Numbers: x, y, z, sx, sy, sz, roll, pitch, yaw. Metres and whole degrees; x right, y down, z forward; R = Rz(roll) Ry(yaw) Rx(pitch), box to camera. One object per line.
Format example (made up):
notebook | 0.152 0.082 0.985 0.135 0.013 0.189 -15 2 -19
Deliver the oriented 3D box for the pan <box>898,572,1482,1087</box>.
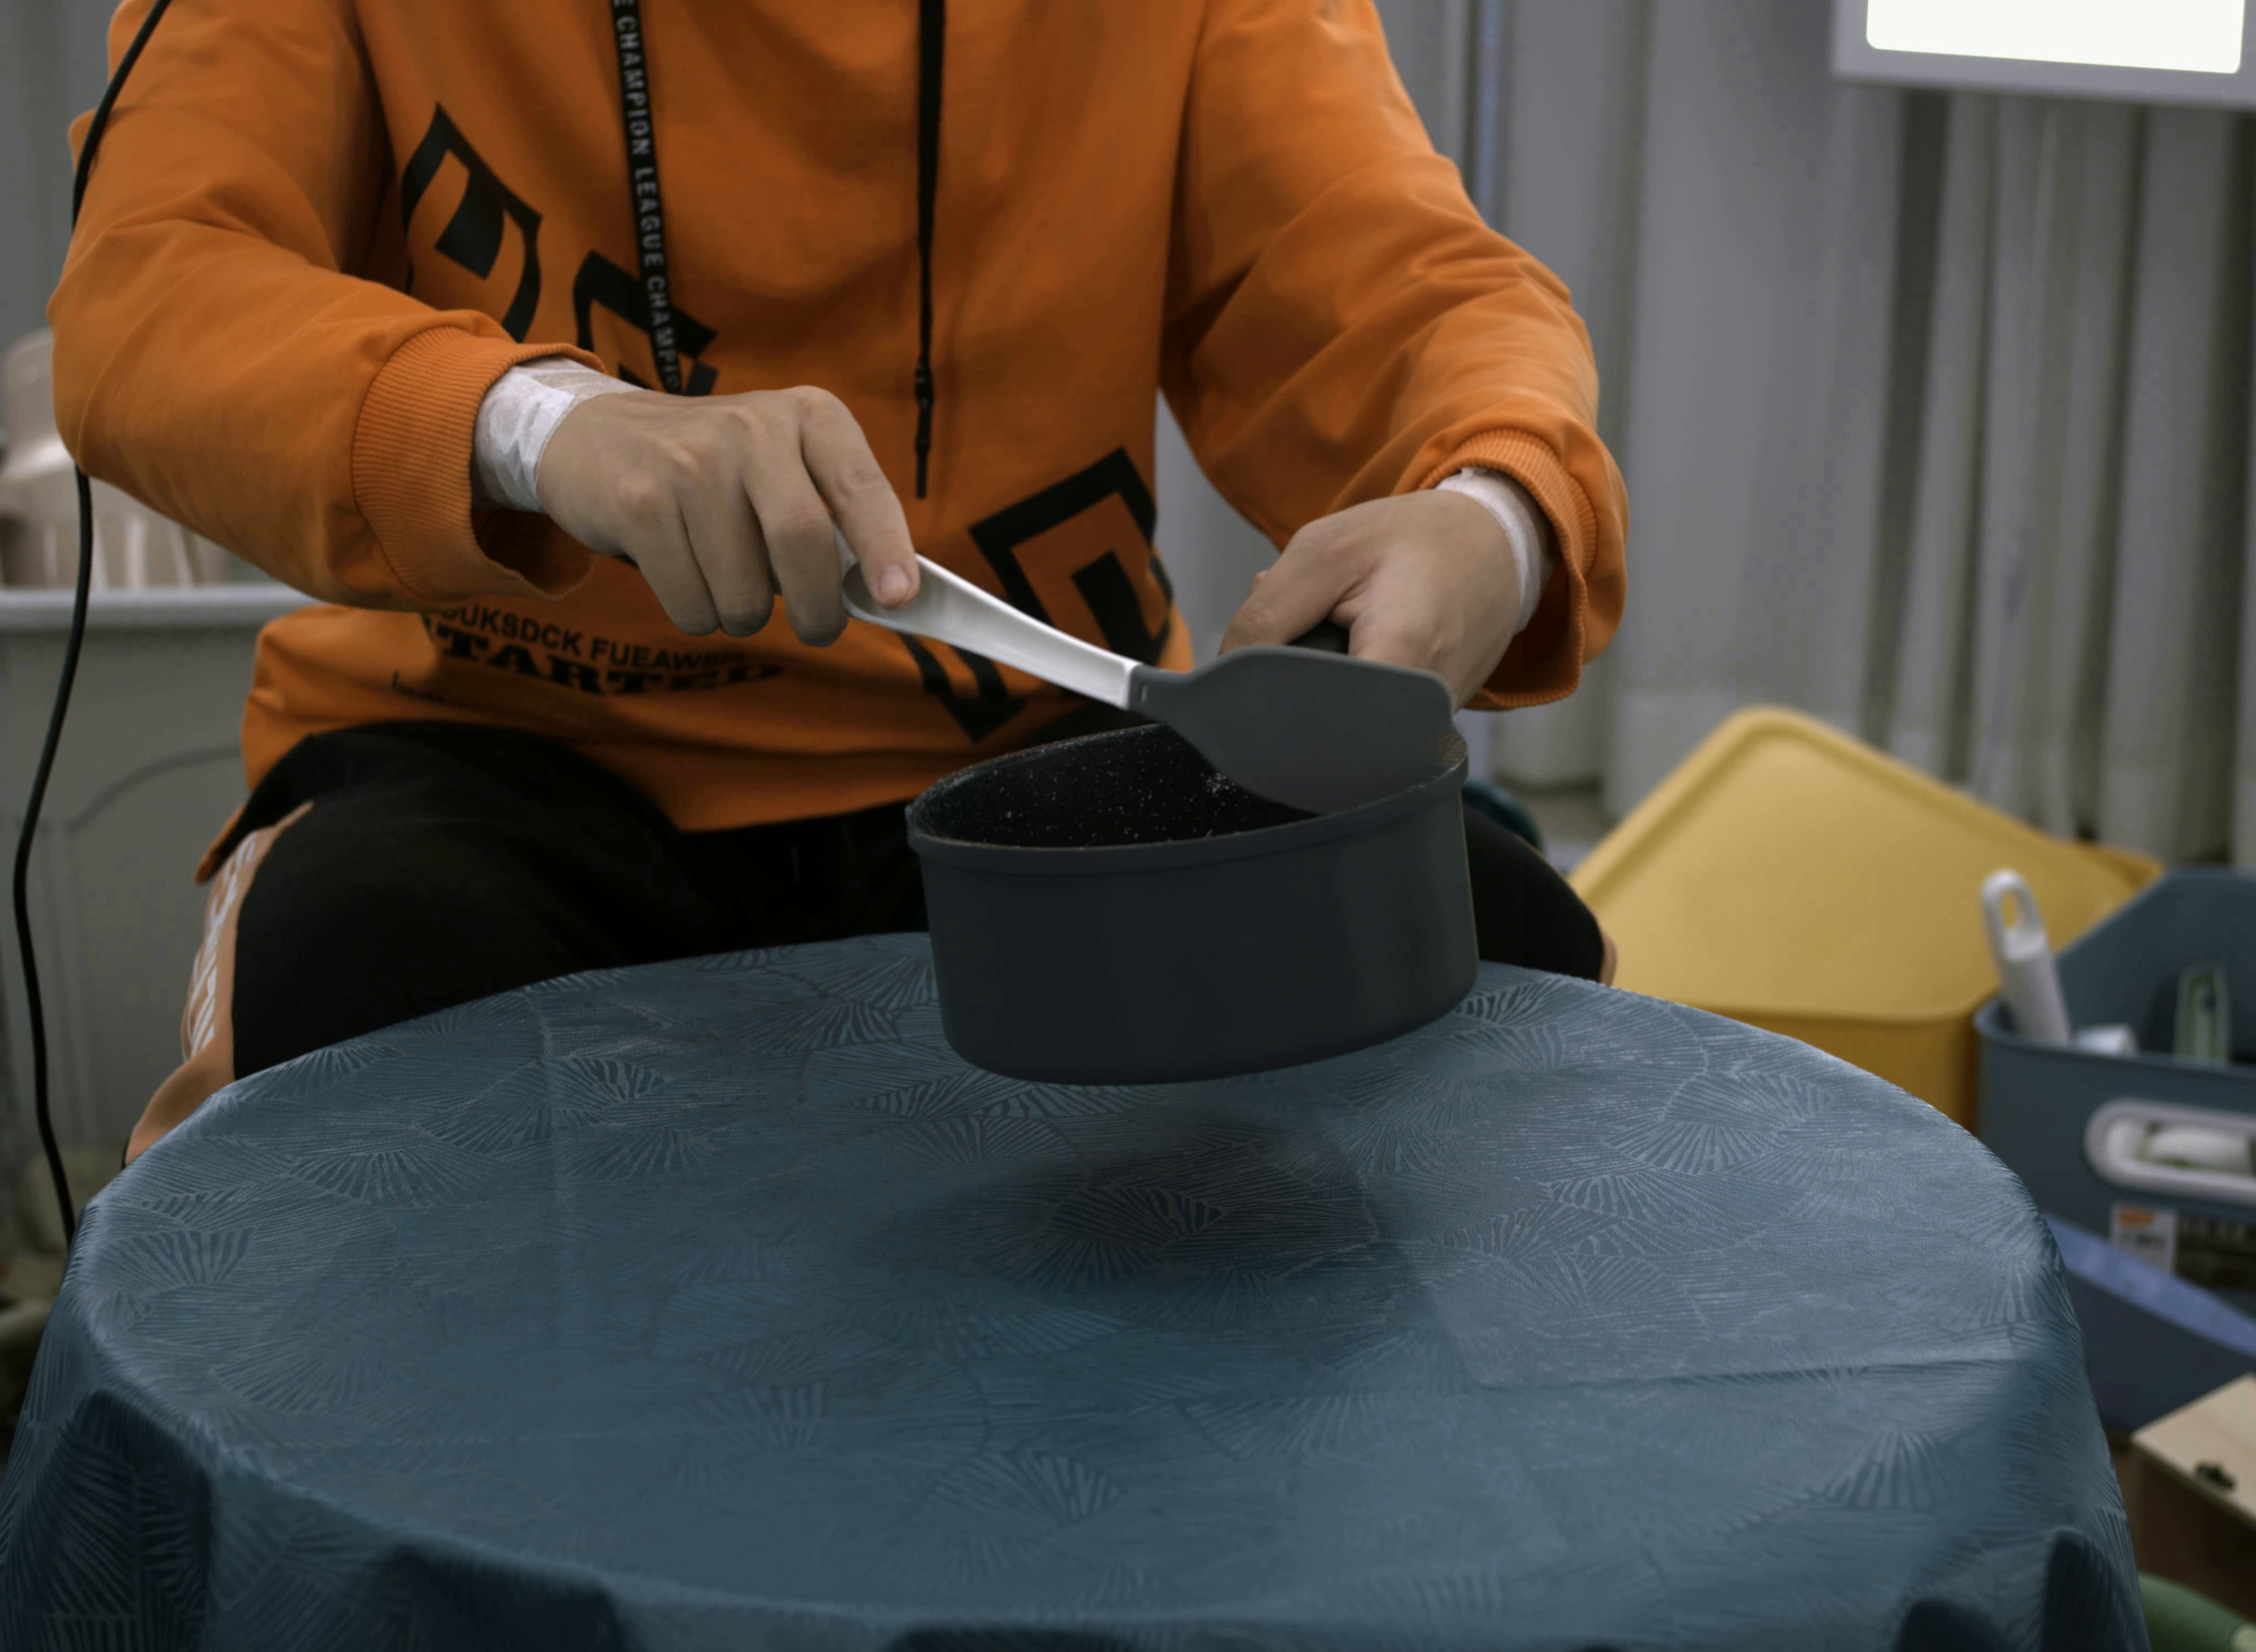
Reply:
pan | 0.042 -0.002 1.650 0.170 0.087 0.328 -2 15 17

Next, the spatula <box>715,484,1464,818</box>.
spatula | -0.016 -0.056 1.622 0.284 0.059 0.032 20 21 36
